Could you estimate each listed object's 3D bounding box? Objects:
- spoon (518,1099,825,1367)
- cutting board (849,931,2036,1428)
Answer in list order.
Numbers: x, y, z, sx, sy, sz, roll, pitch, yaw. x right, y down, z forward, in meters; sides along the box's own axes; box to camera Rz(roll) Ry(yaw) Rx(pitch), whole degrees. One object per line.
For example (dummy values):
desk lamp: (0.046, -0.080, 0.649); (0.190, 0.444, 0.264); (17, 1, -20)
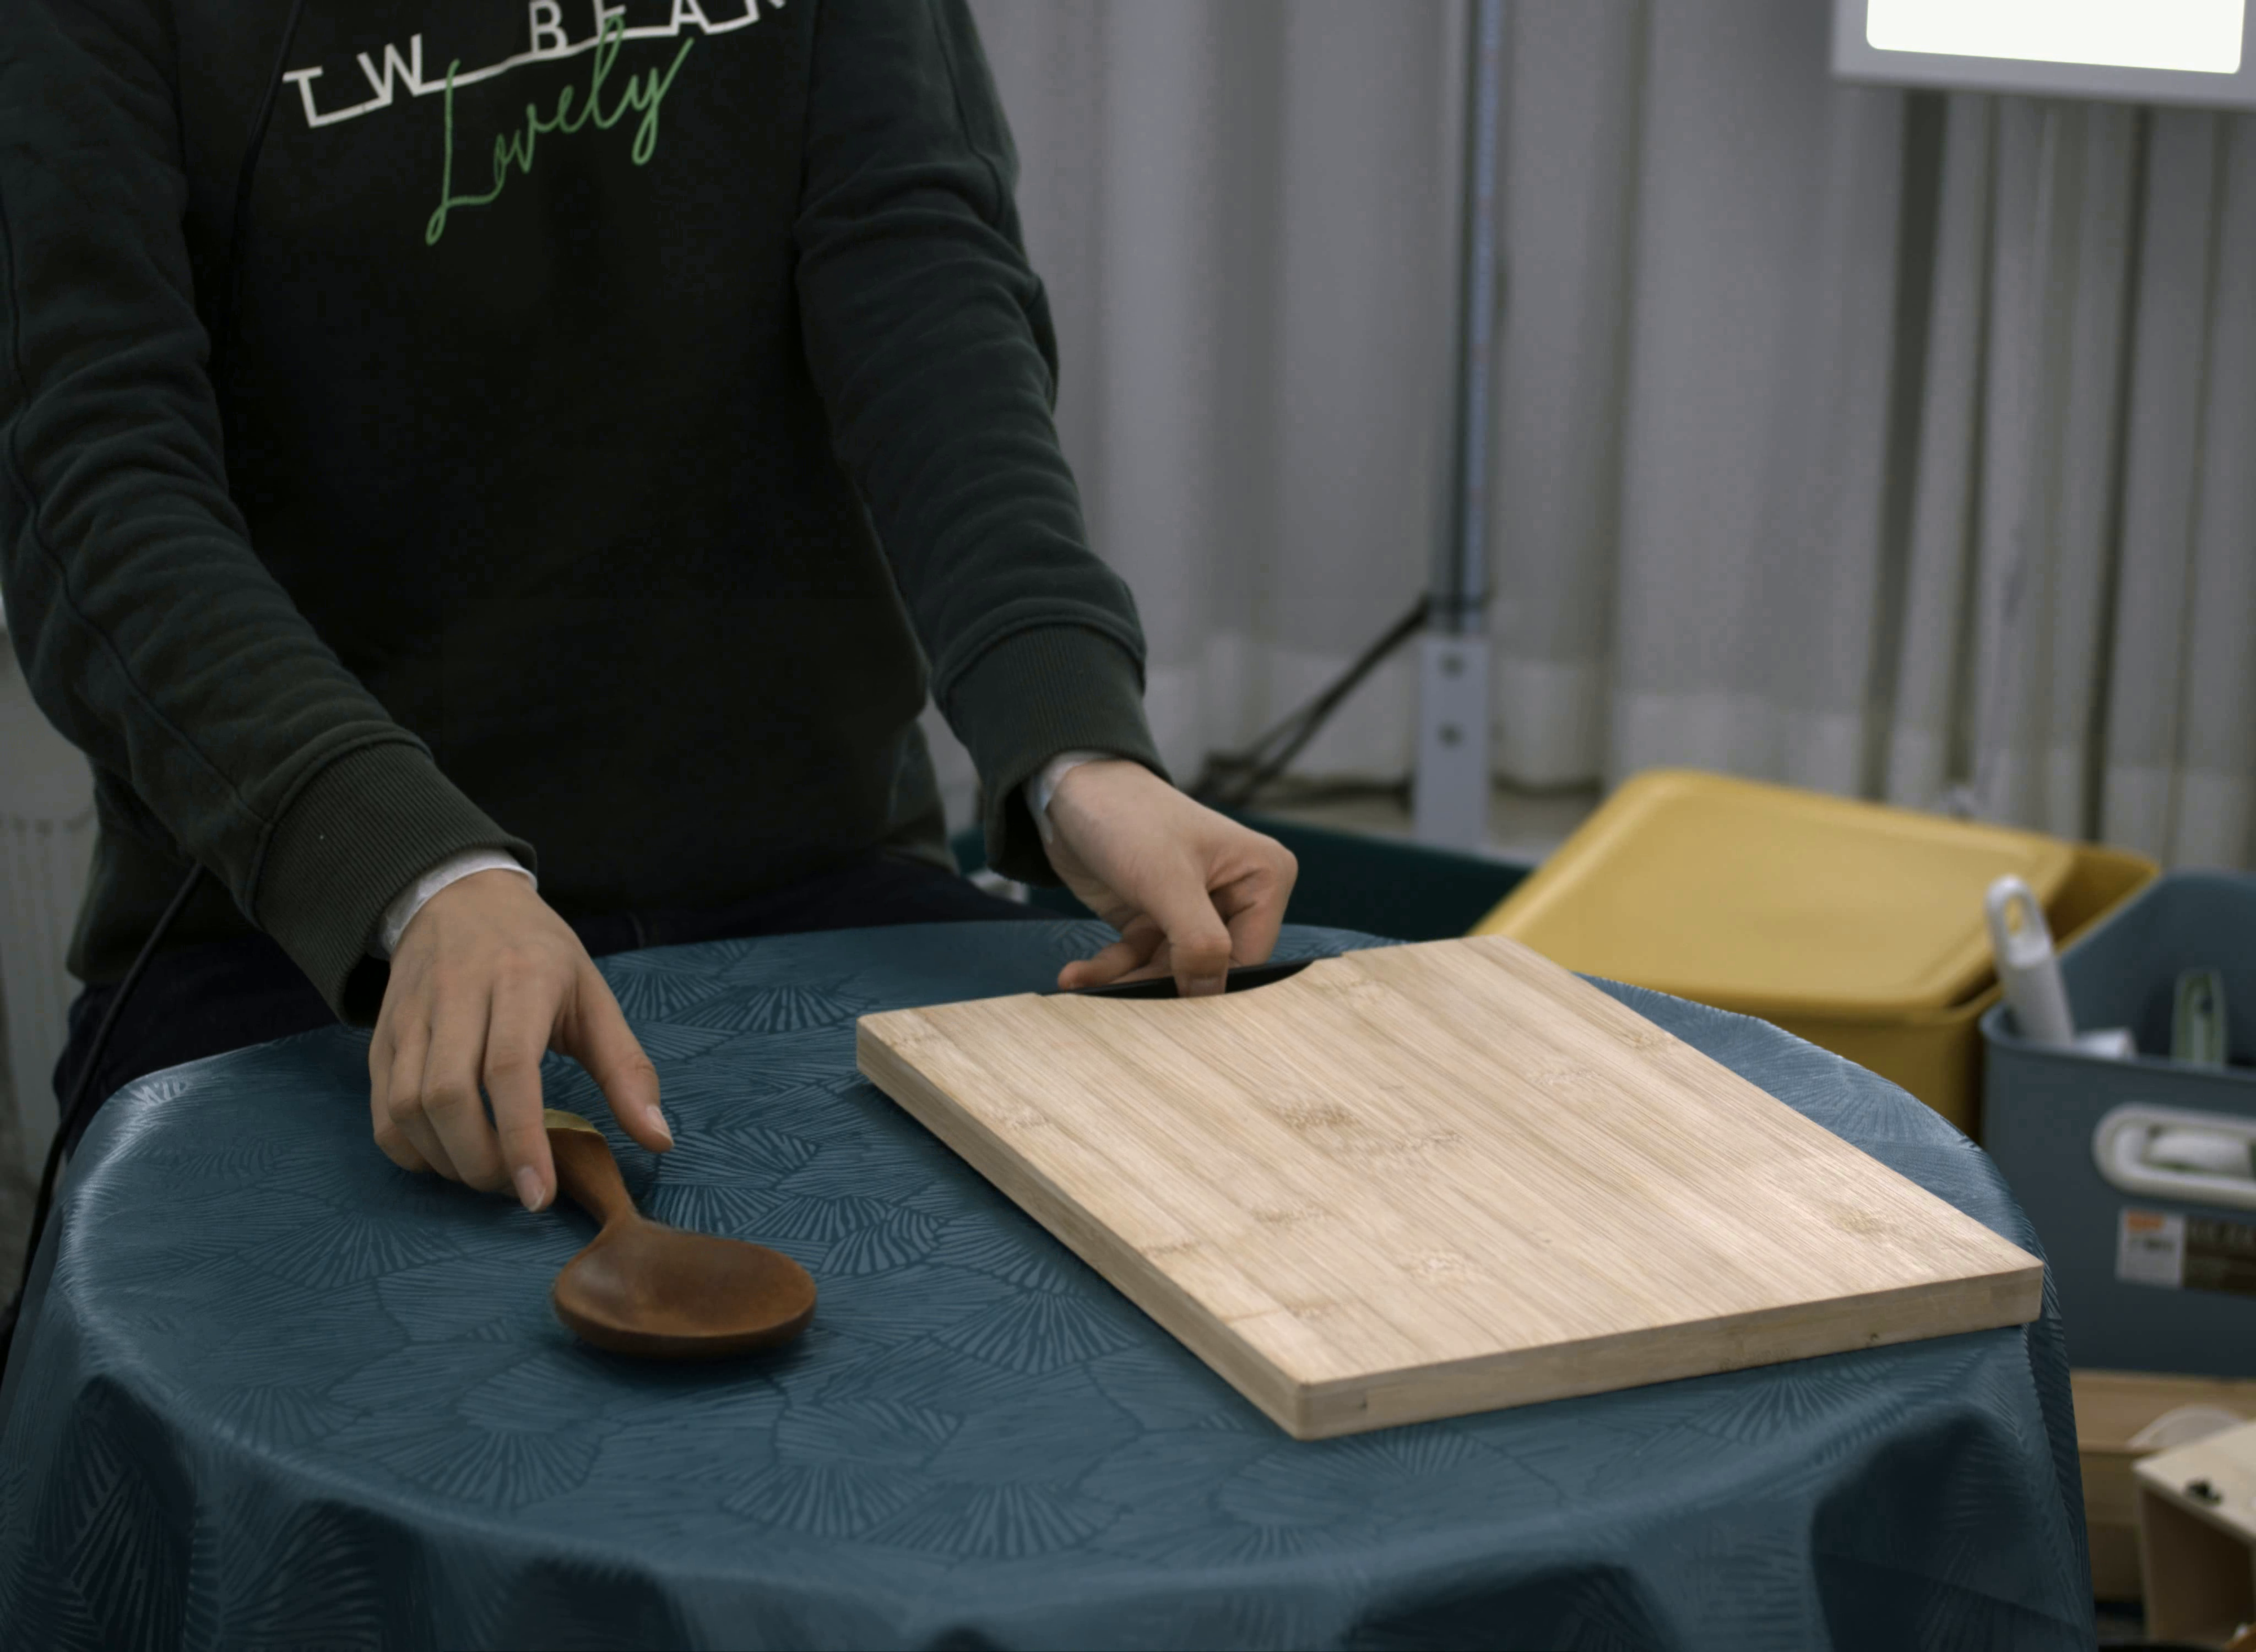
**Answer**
spoon: (-0.146, 0.121, 1.559); (0.075, 0.017, 0.213); (-6, 18, -18)
cutting board: (0.085, 0.102, 1.628); (0.251, 0.024, 0.344); (-6, 18, -24)
